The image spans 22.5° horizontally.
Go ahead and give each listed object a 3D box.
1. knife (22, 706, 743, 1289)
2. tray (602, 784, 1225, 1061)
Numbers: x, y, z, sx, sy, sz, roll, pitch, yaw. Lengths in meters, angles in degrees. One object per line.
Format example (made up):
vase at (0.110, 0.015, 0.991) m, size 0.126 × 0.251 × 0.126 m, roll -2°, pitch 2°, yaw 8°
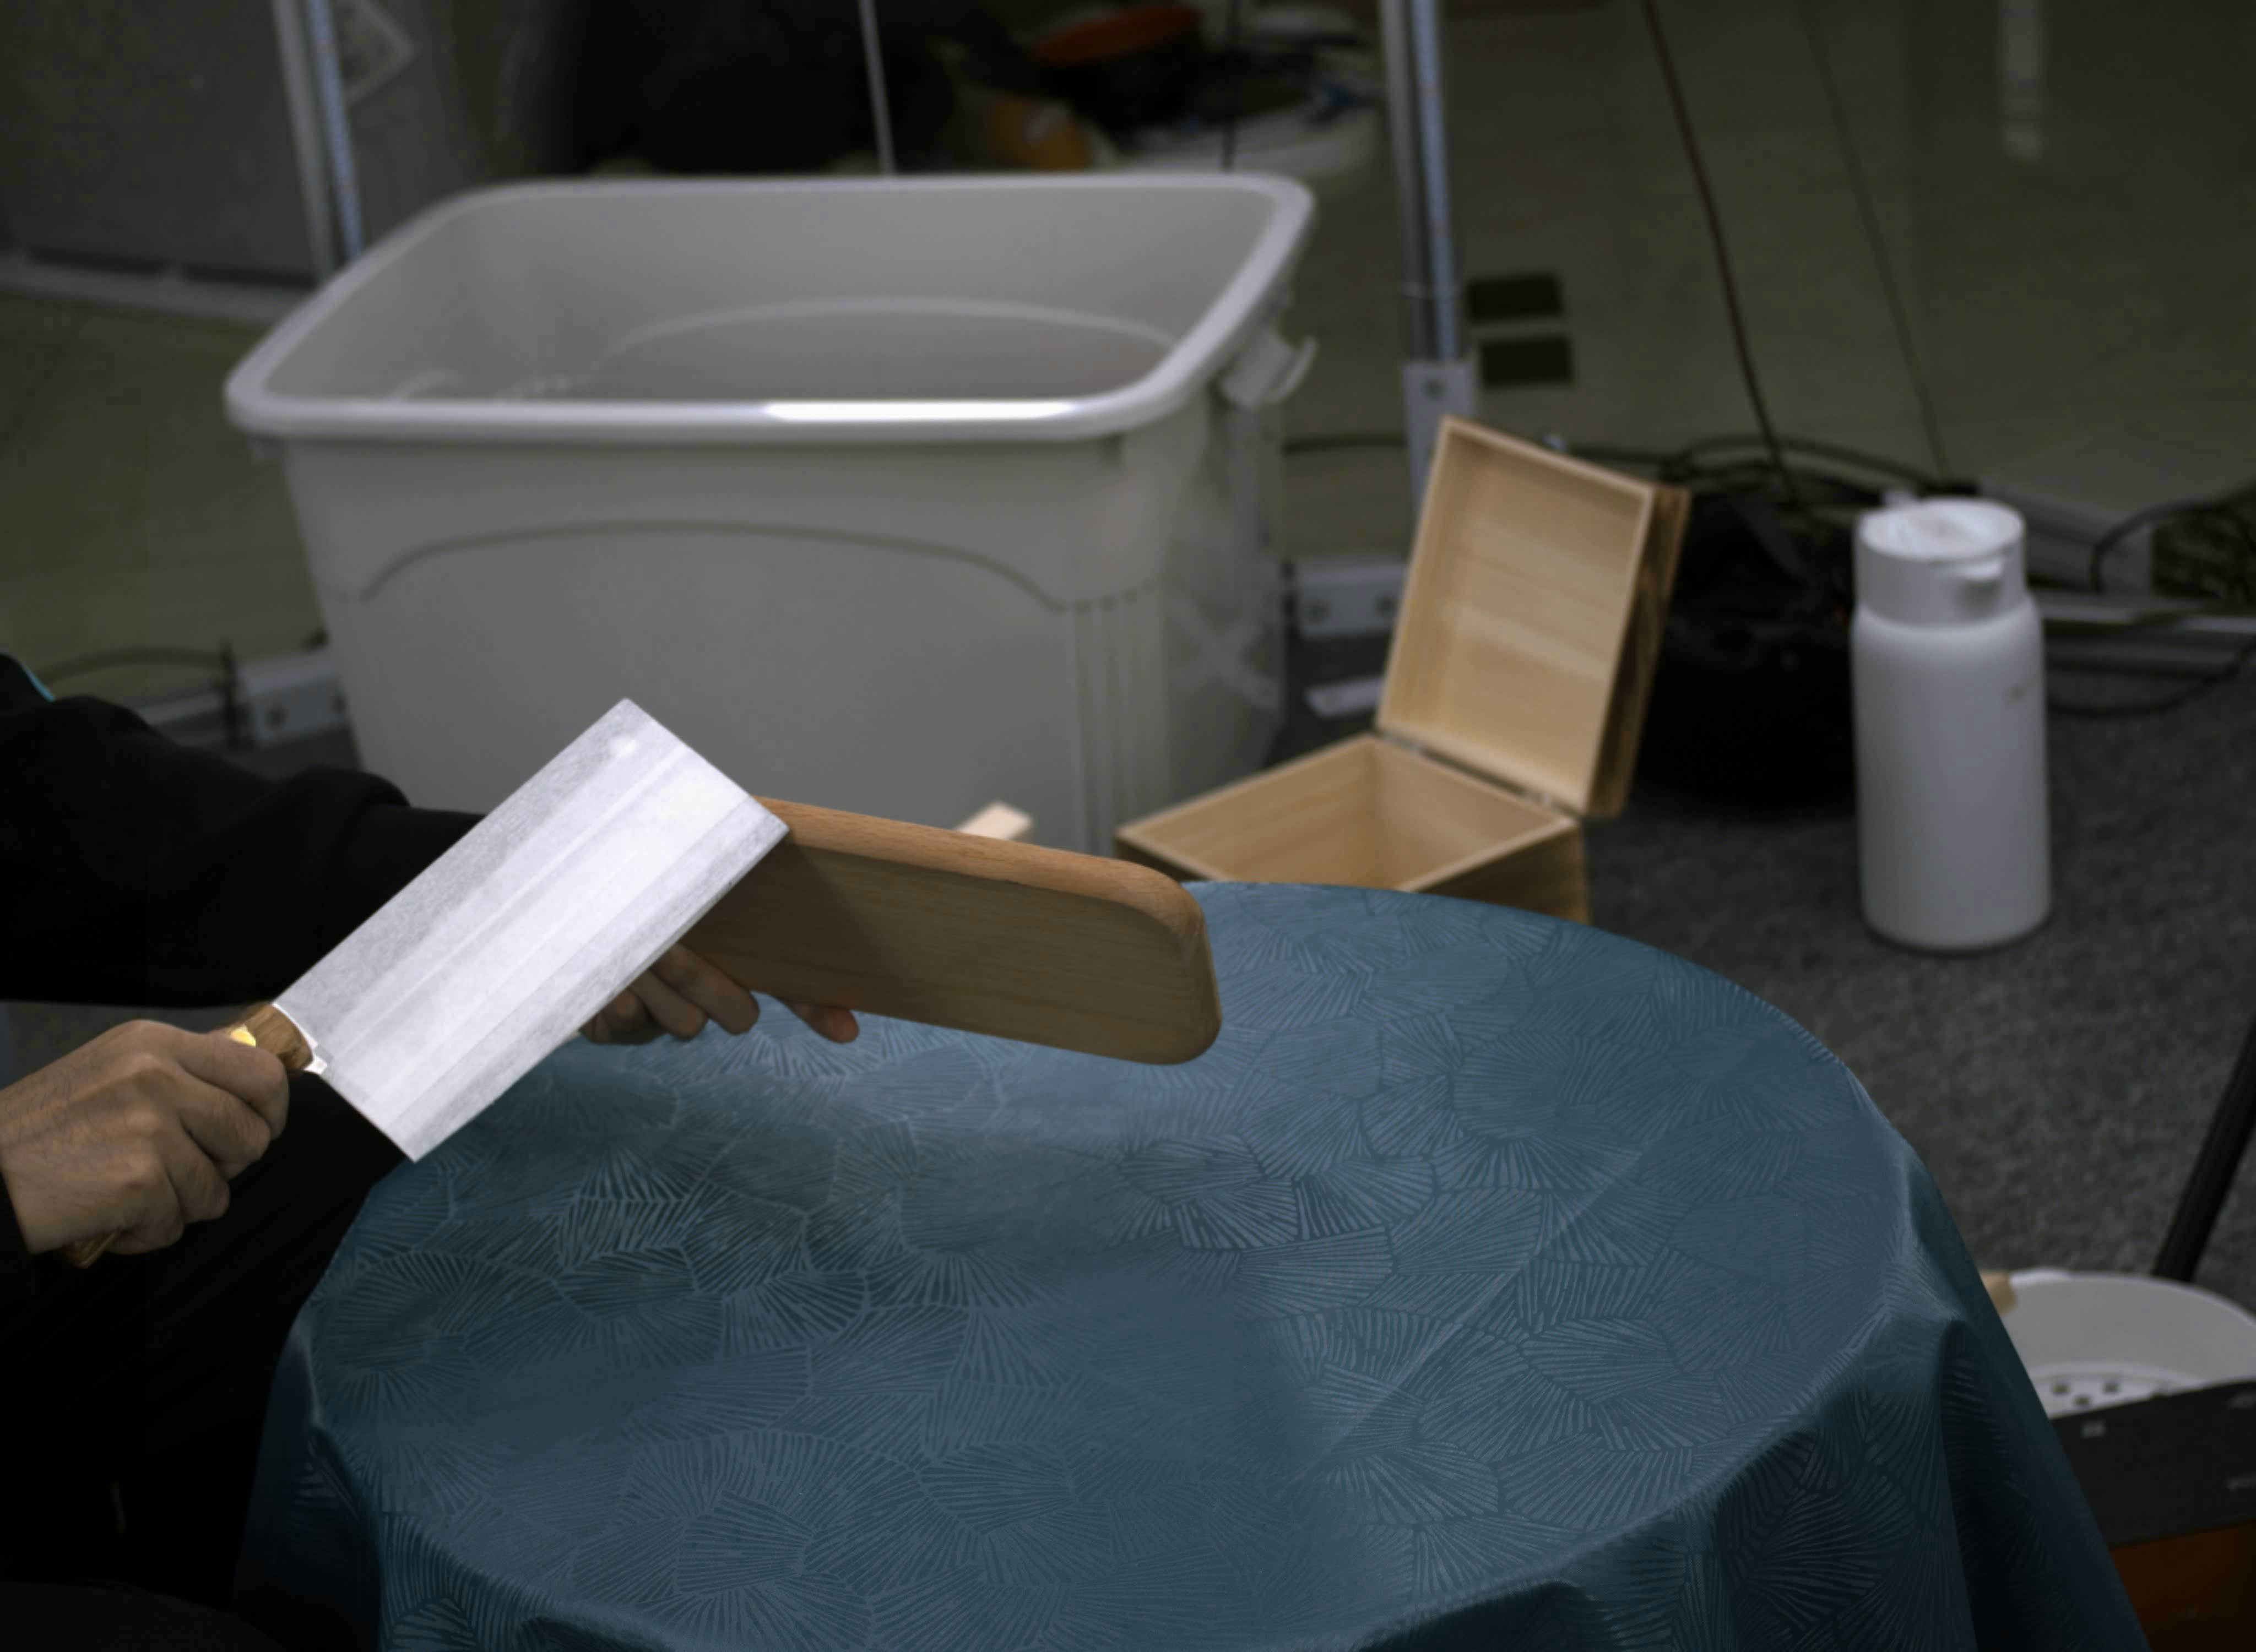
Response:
knife at (-0.262, 0.072, 2.055) m, size 0.092 × 0.021 × 0.303 m, roll 39°, pitch 69°, yaw 21°
tray at (-0.090, 0.038, 2.140) m, size 0.250 × 0.133 × 0.022 m, roll 7°, pitch 56°, yaw 14°
